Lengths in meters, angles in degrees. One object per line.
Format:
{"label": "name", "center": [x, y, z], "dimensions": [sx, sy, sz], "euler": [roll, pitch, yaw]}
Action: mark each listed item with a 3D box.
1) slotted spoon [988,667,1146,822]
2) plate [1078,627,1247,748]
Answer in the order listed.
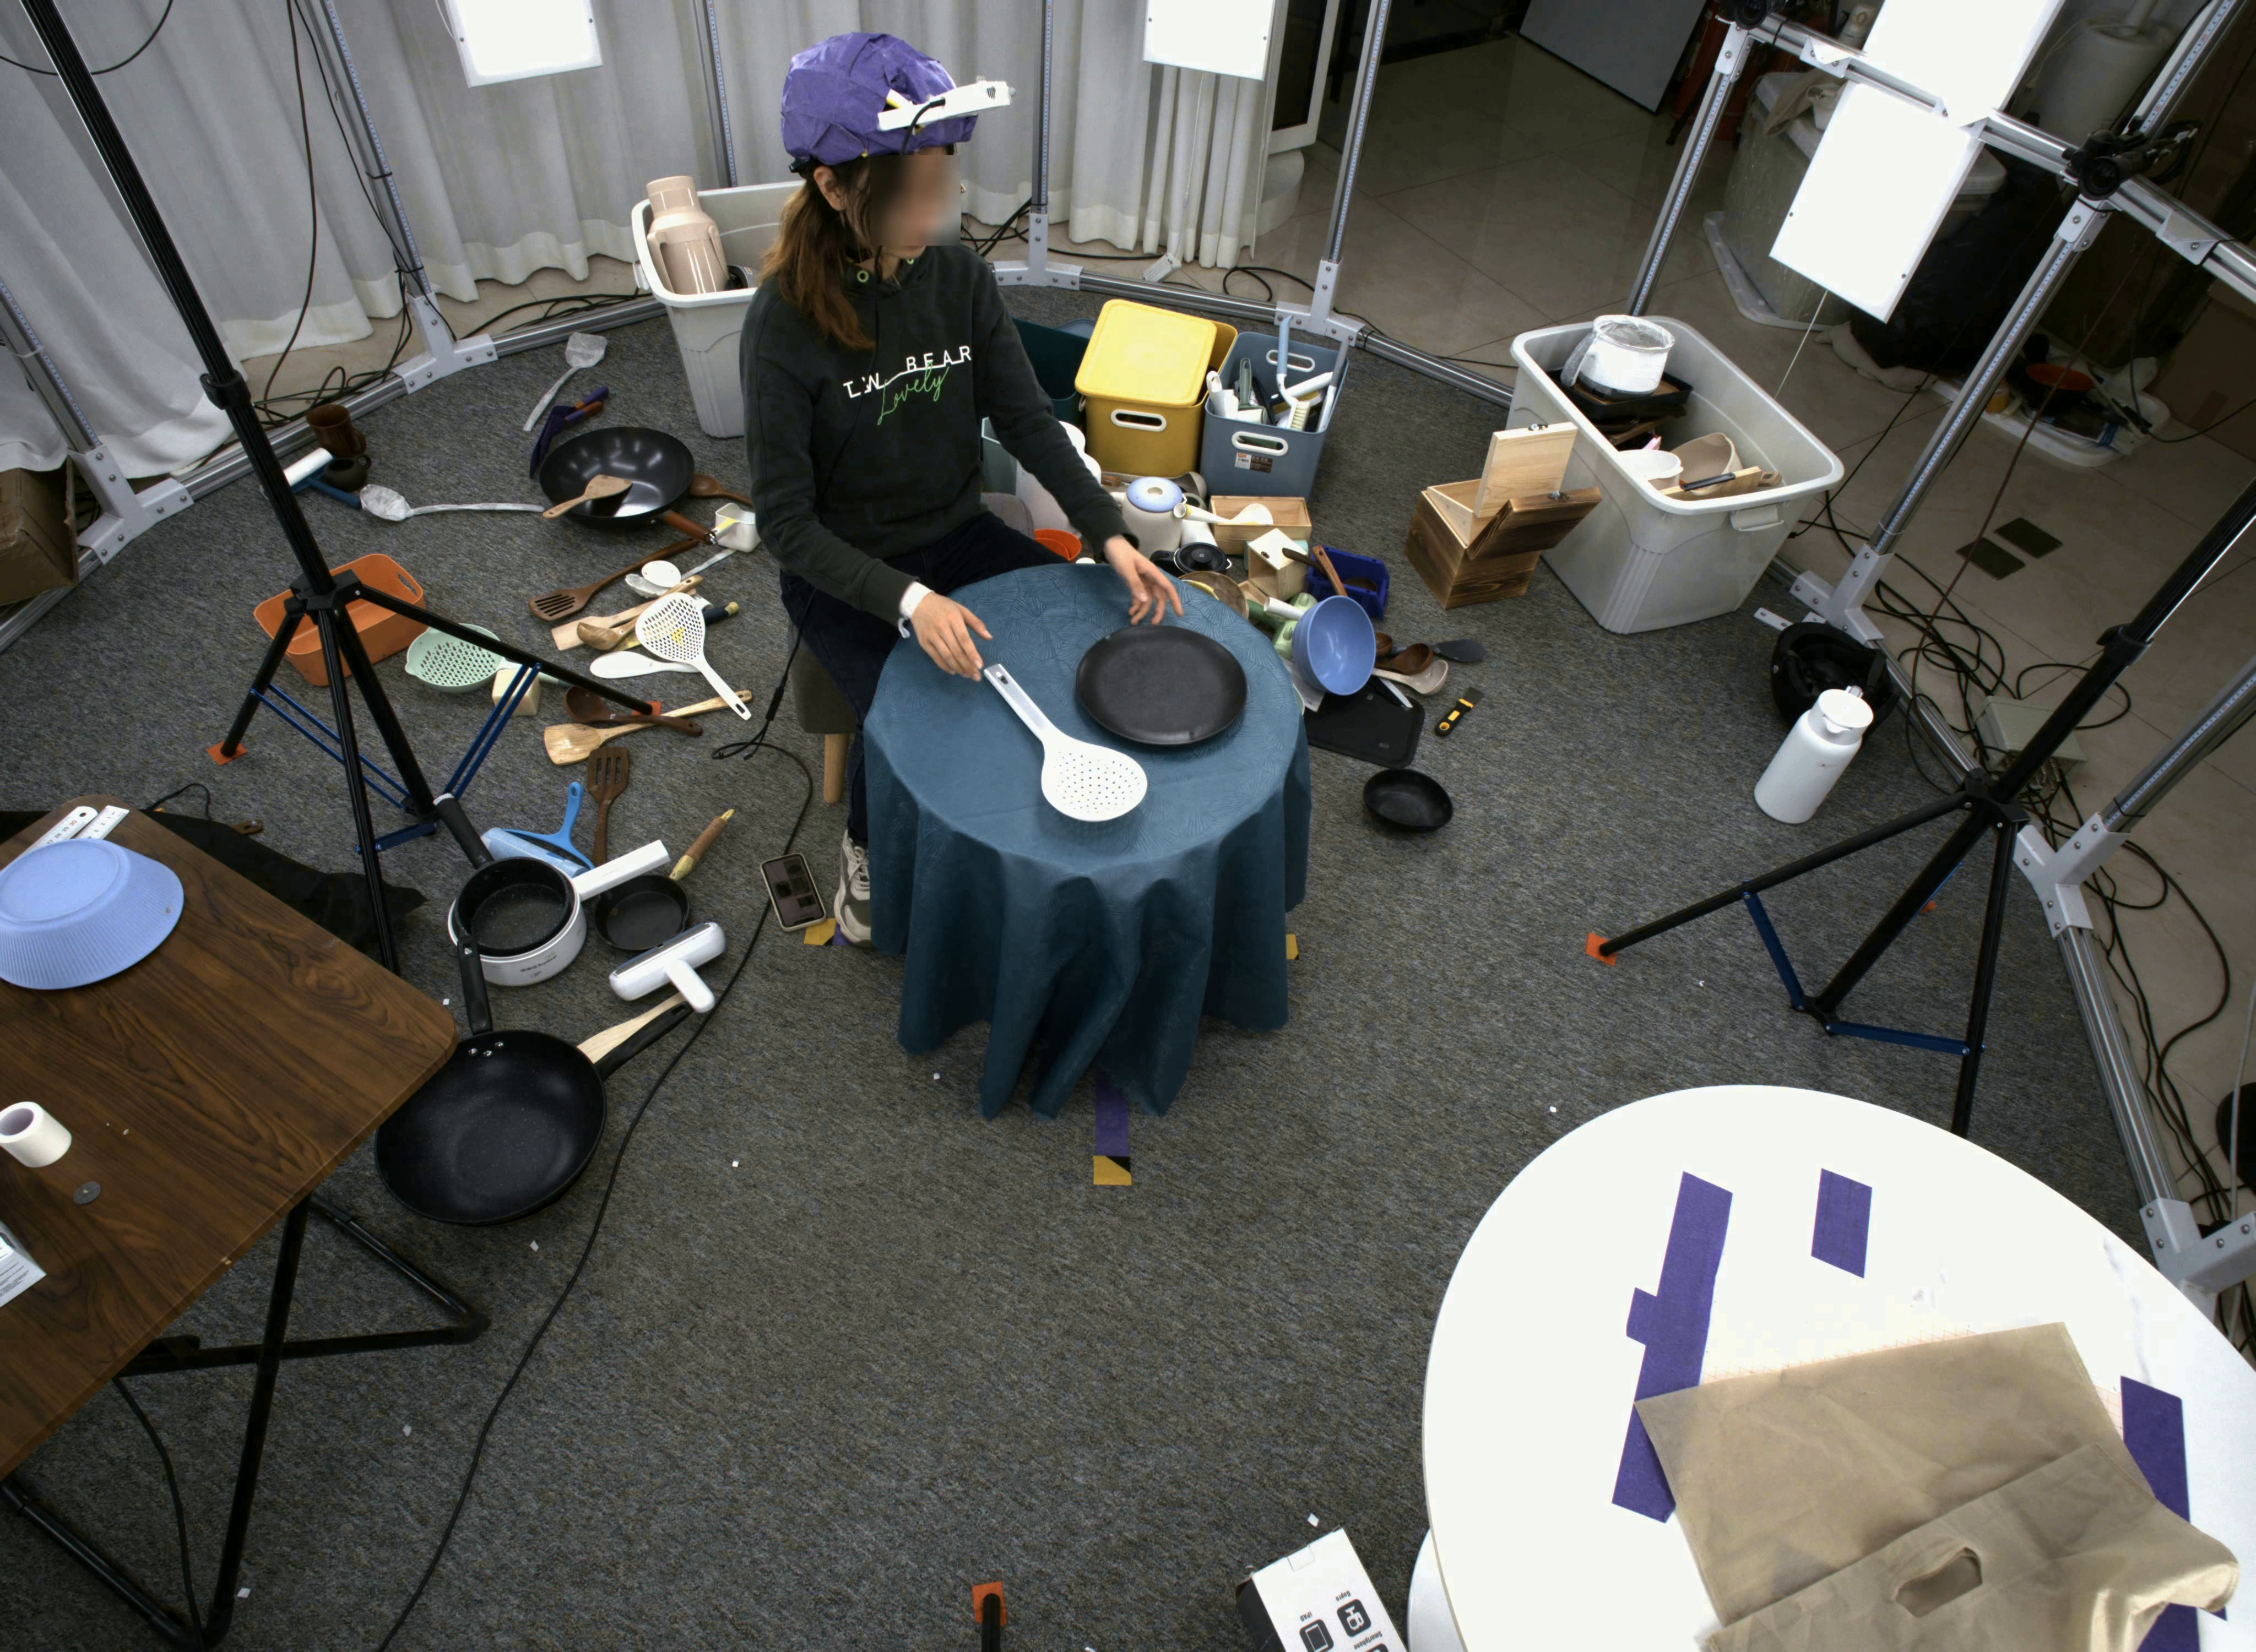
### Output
{"label": "slotted spoon", "center": [-0.101, -0.117, 1.749], "dimensions": [0.136, 0.044, 0.357], "euler": [-21, 53, -23]}
{"label": "plate", "center": [0.049, -0.198, 1.845], "dimensions": [0.244, 0.023, 0.250], "euler": [2, 49, -2]}
